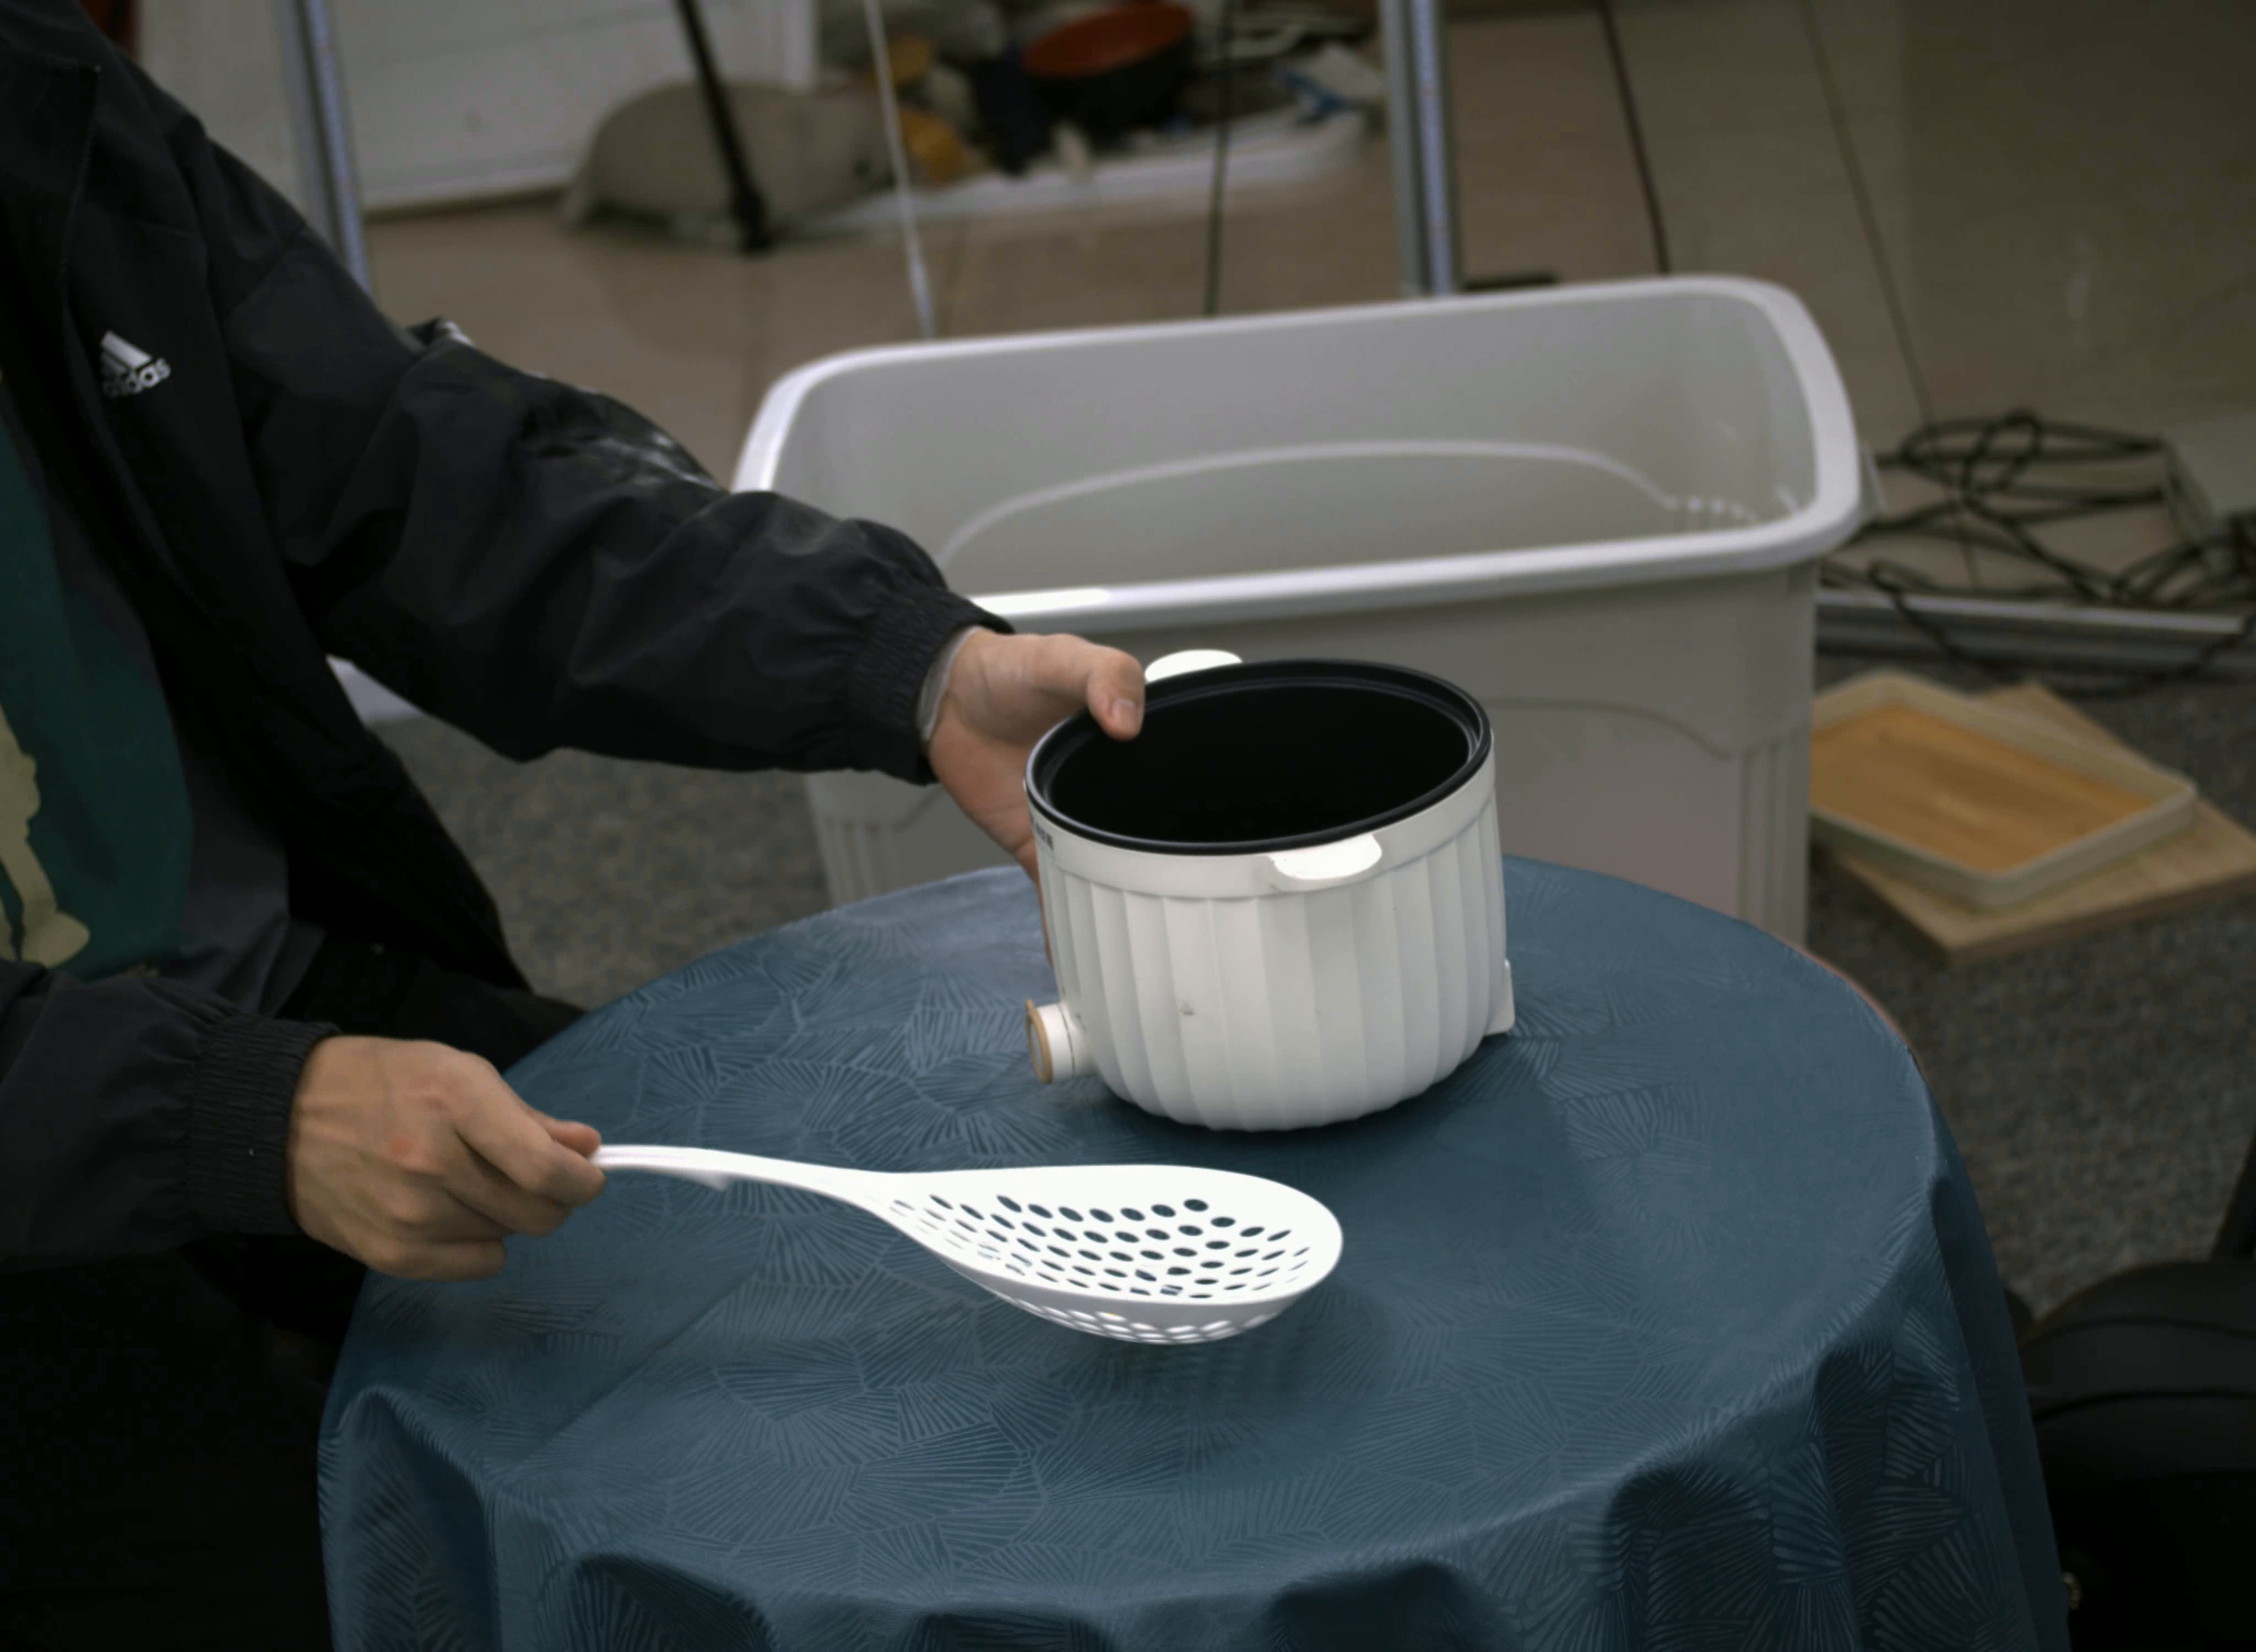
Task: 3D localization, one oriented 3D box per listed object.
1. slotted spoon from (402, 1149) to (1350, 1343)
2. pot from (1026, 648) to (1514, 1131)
[{"bbox_3d":[-0.094,0.142,2.049,0.347,0.051,0.135,10,20,11],"label":"slotted spoon"},{"bbox_3d":[0.053,0.032,2.196,0.190,0.145,0.237,-9,23,-12],"label":"pot"}]
